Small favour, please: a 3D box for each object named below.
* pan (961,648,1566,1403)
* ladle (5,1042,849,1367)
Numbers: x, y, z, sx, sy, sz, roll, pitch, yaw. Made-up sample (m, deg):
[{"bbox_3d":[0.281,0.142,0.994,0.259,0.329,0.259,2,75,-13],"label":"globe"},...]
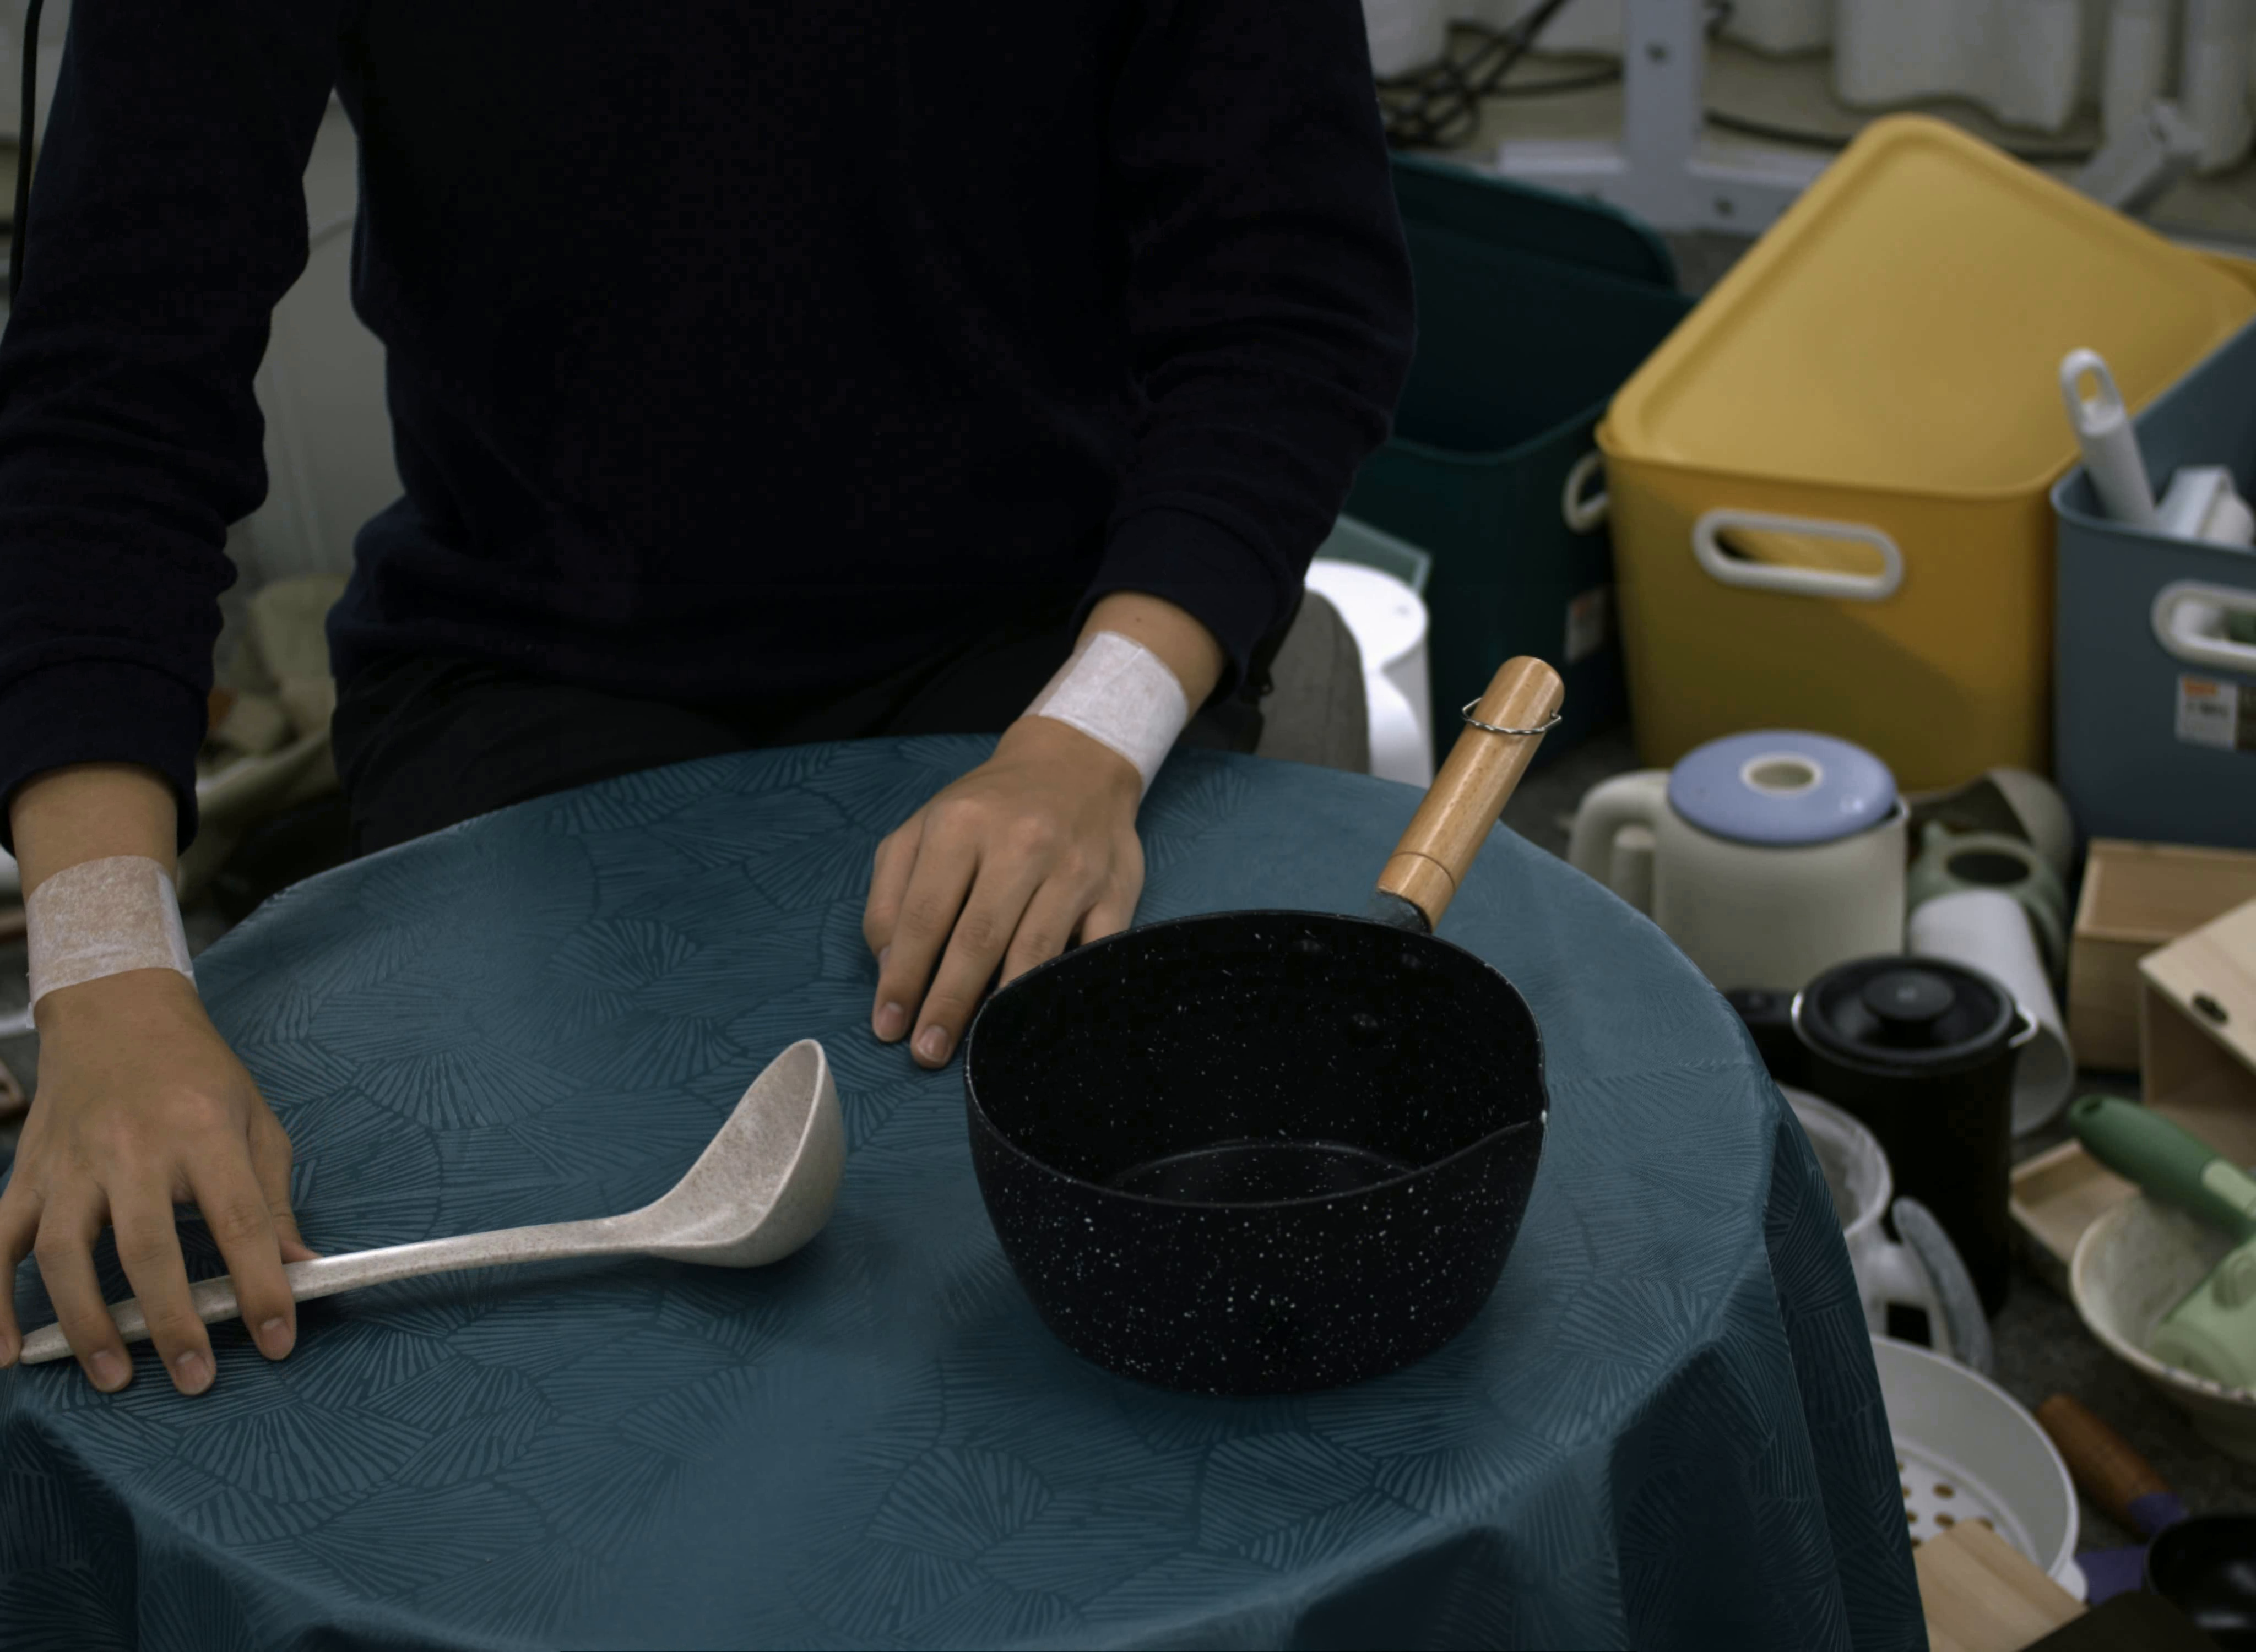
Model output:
[{"bbox_3d":[0.073,0.062,1.855,0.206,0.107,0.349,8,31,22],"label":"pan"},{"bbox_3d":[-0.225,0.123,1.809,0.274,0.069,0.090,-7,25,-9],"label":"ladle"}]
